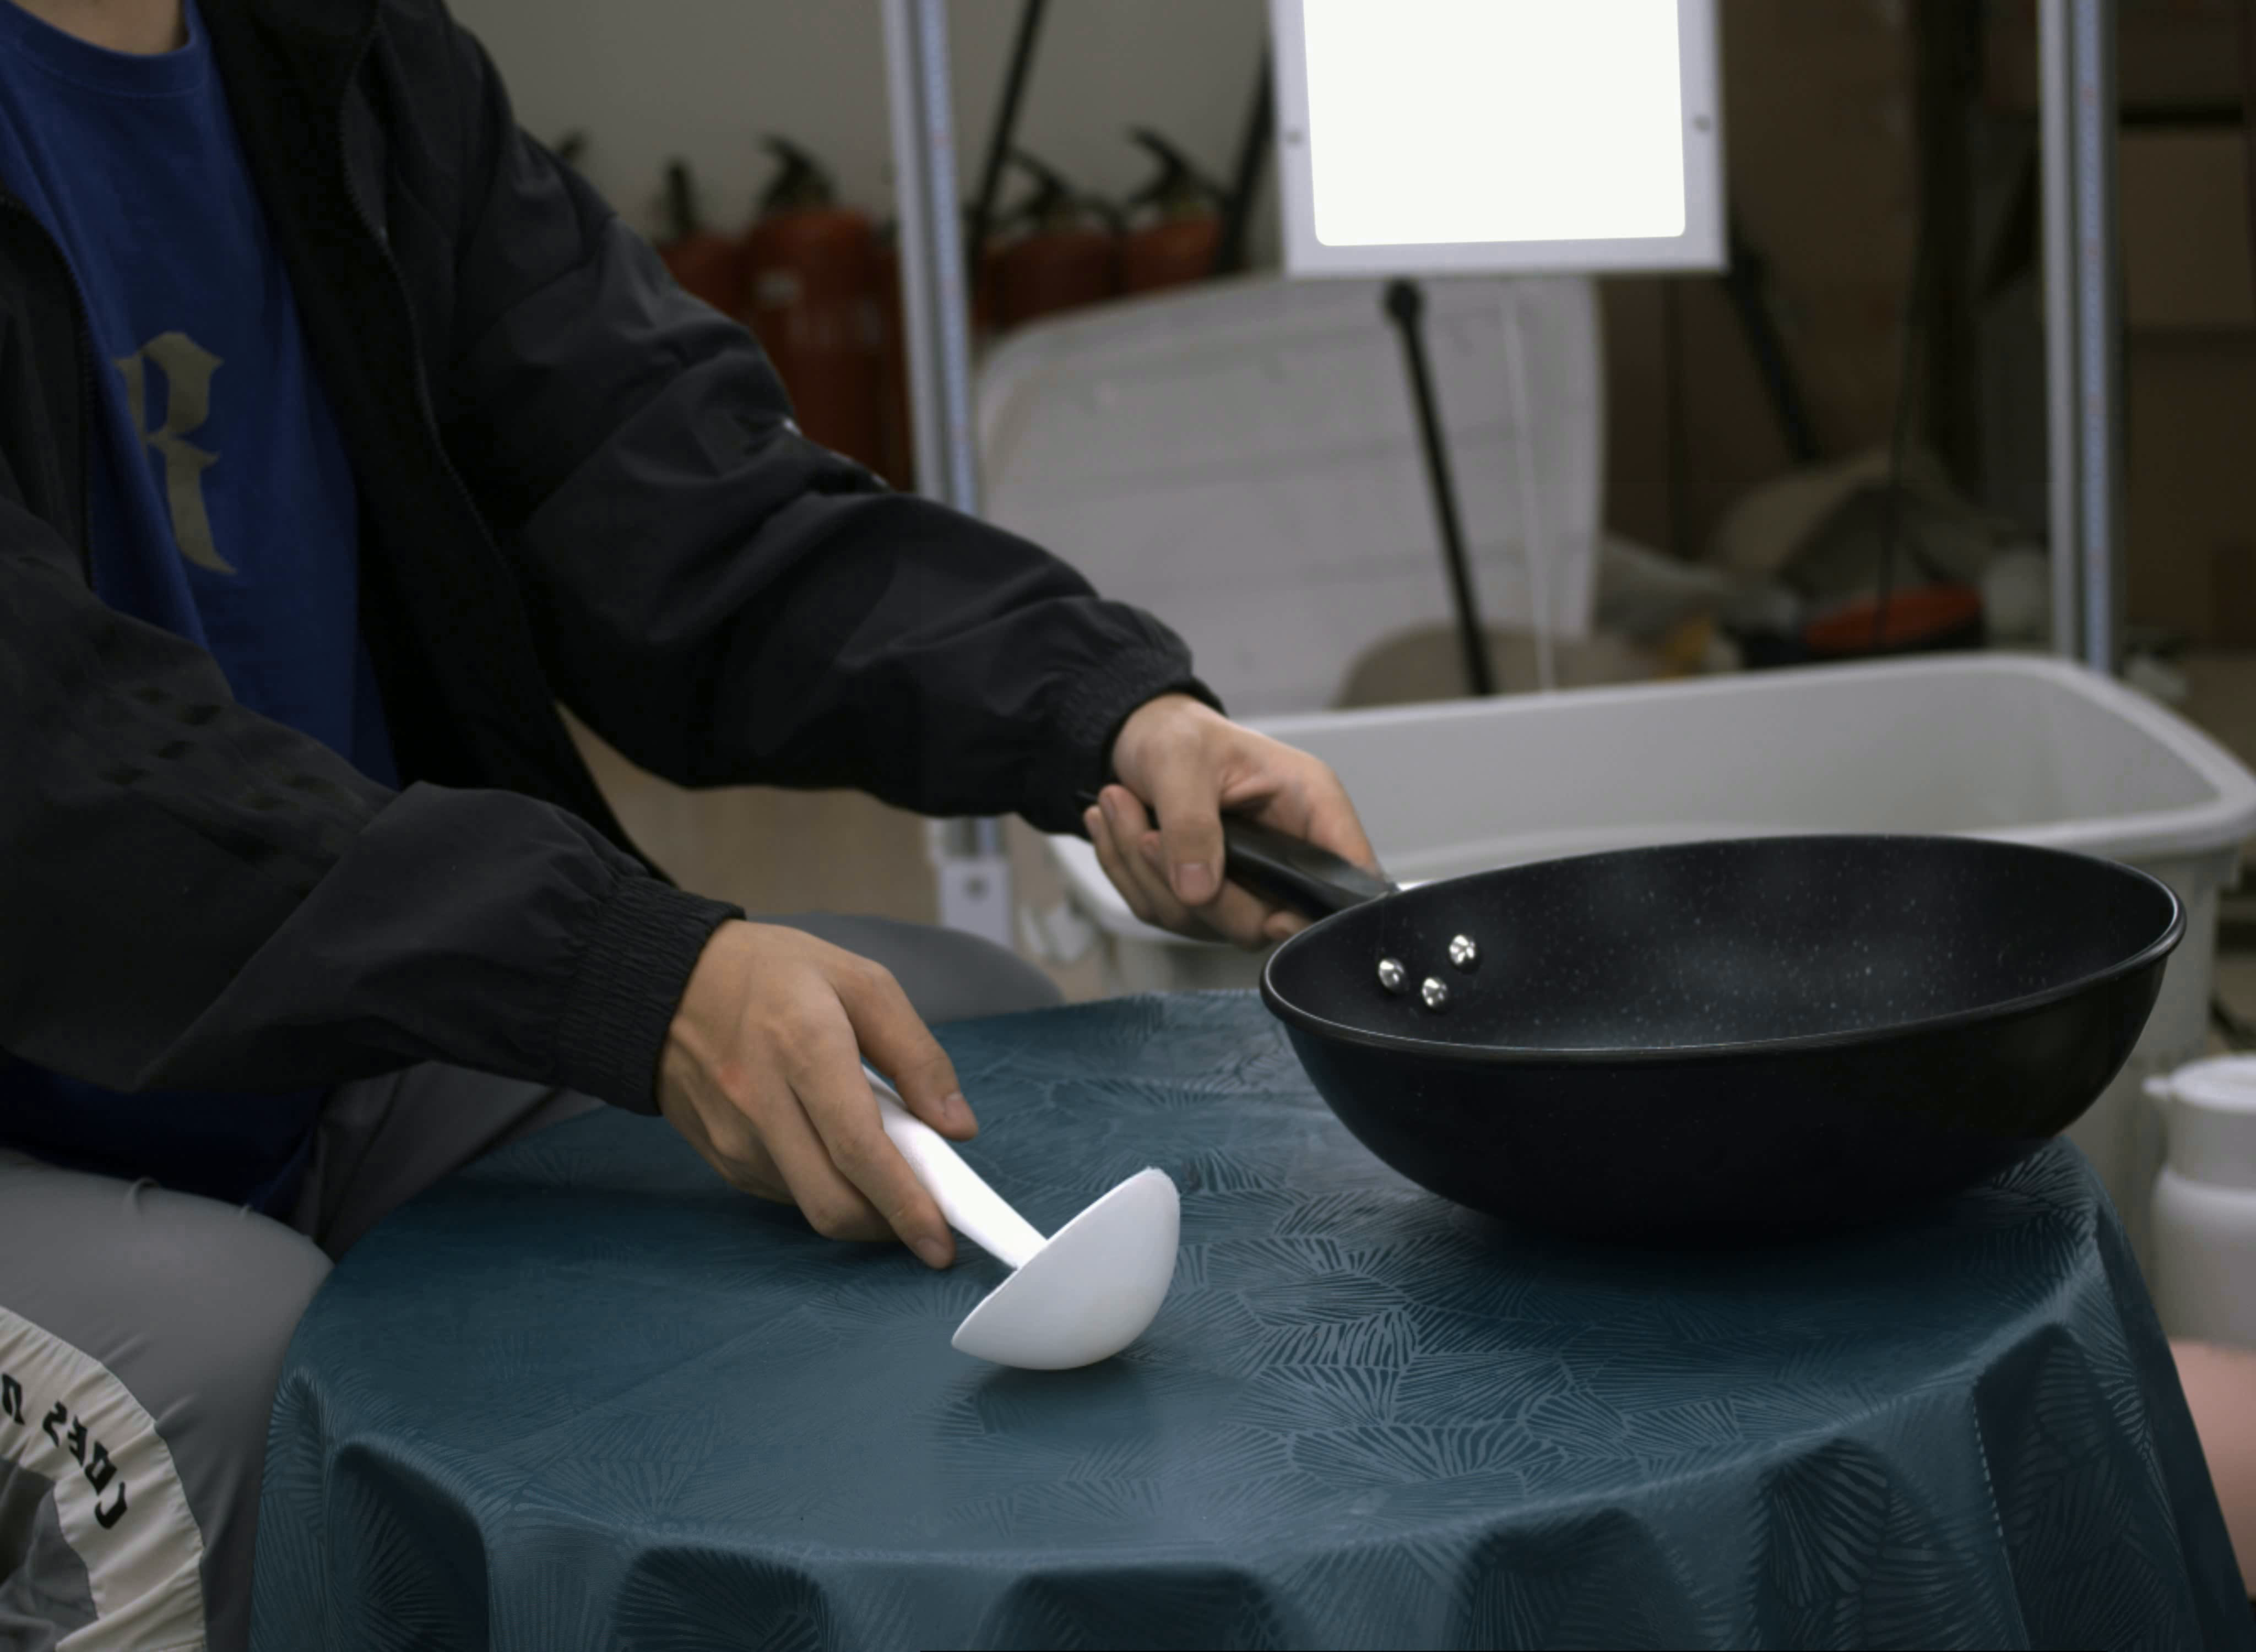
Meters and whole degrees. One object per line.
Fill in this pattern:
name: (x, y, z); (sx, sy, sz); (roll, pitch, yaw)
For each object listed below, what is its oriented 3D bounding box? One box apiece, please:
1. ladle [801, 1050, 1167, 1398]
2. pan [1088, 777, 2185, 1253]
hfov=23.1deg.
ladle: (-0.060, 0.119, 1.824); (0.090, 0.069, 0.297); (-48, 26, -4)
pan: (0.150, 0.060, 1.892); (0.302, 0.112, 0.487); (-13, 14, -38)
